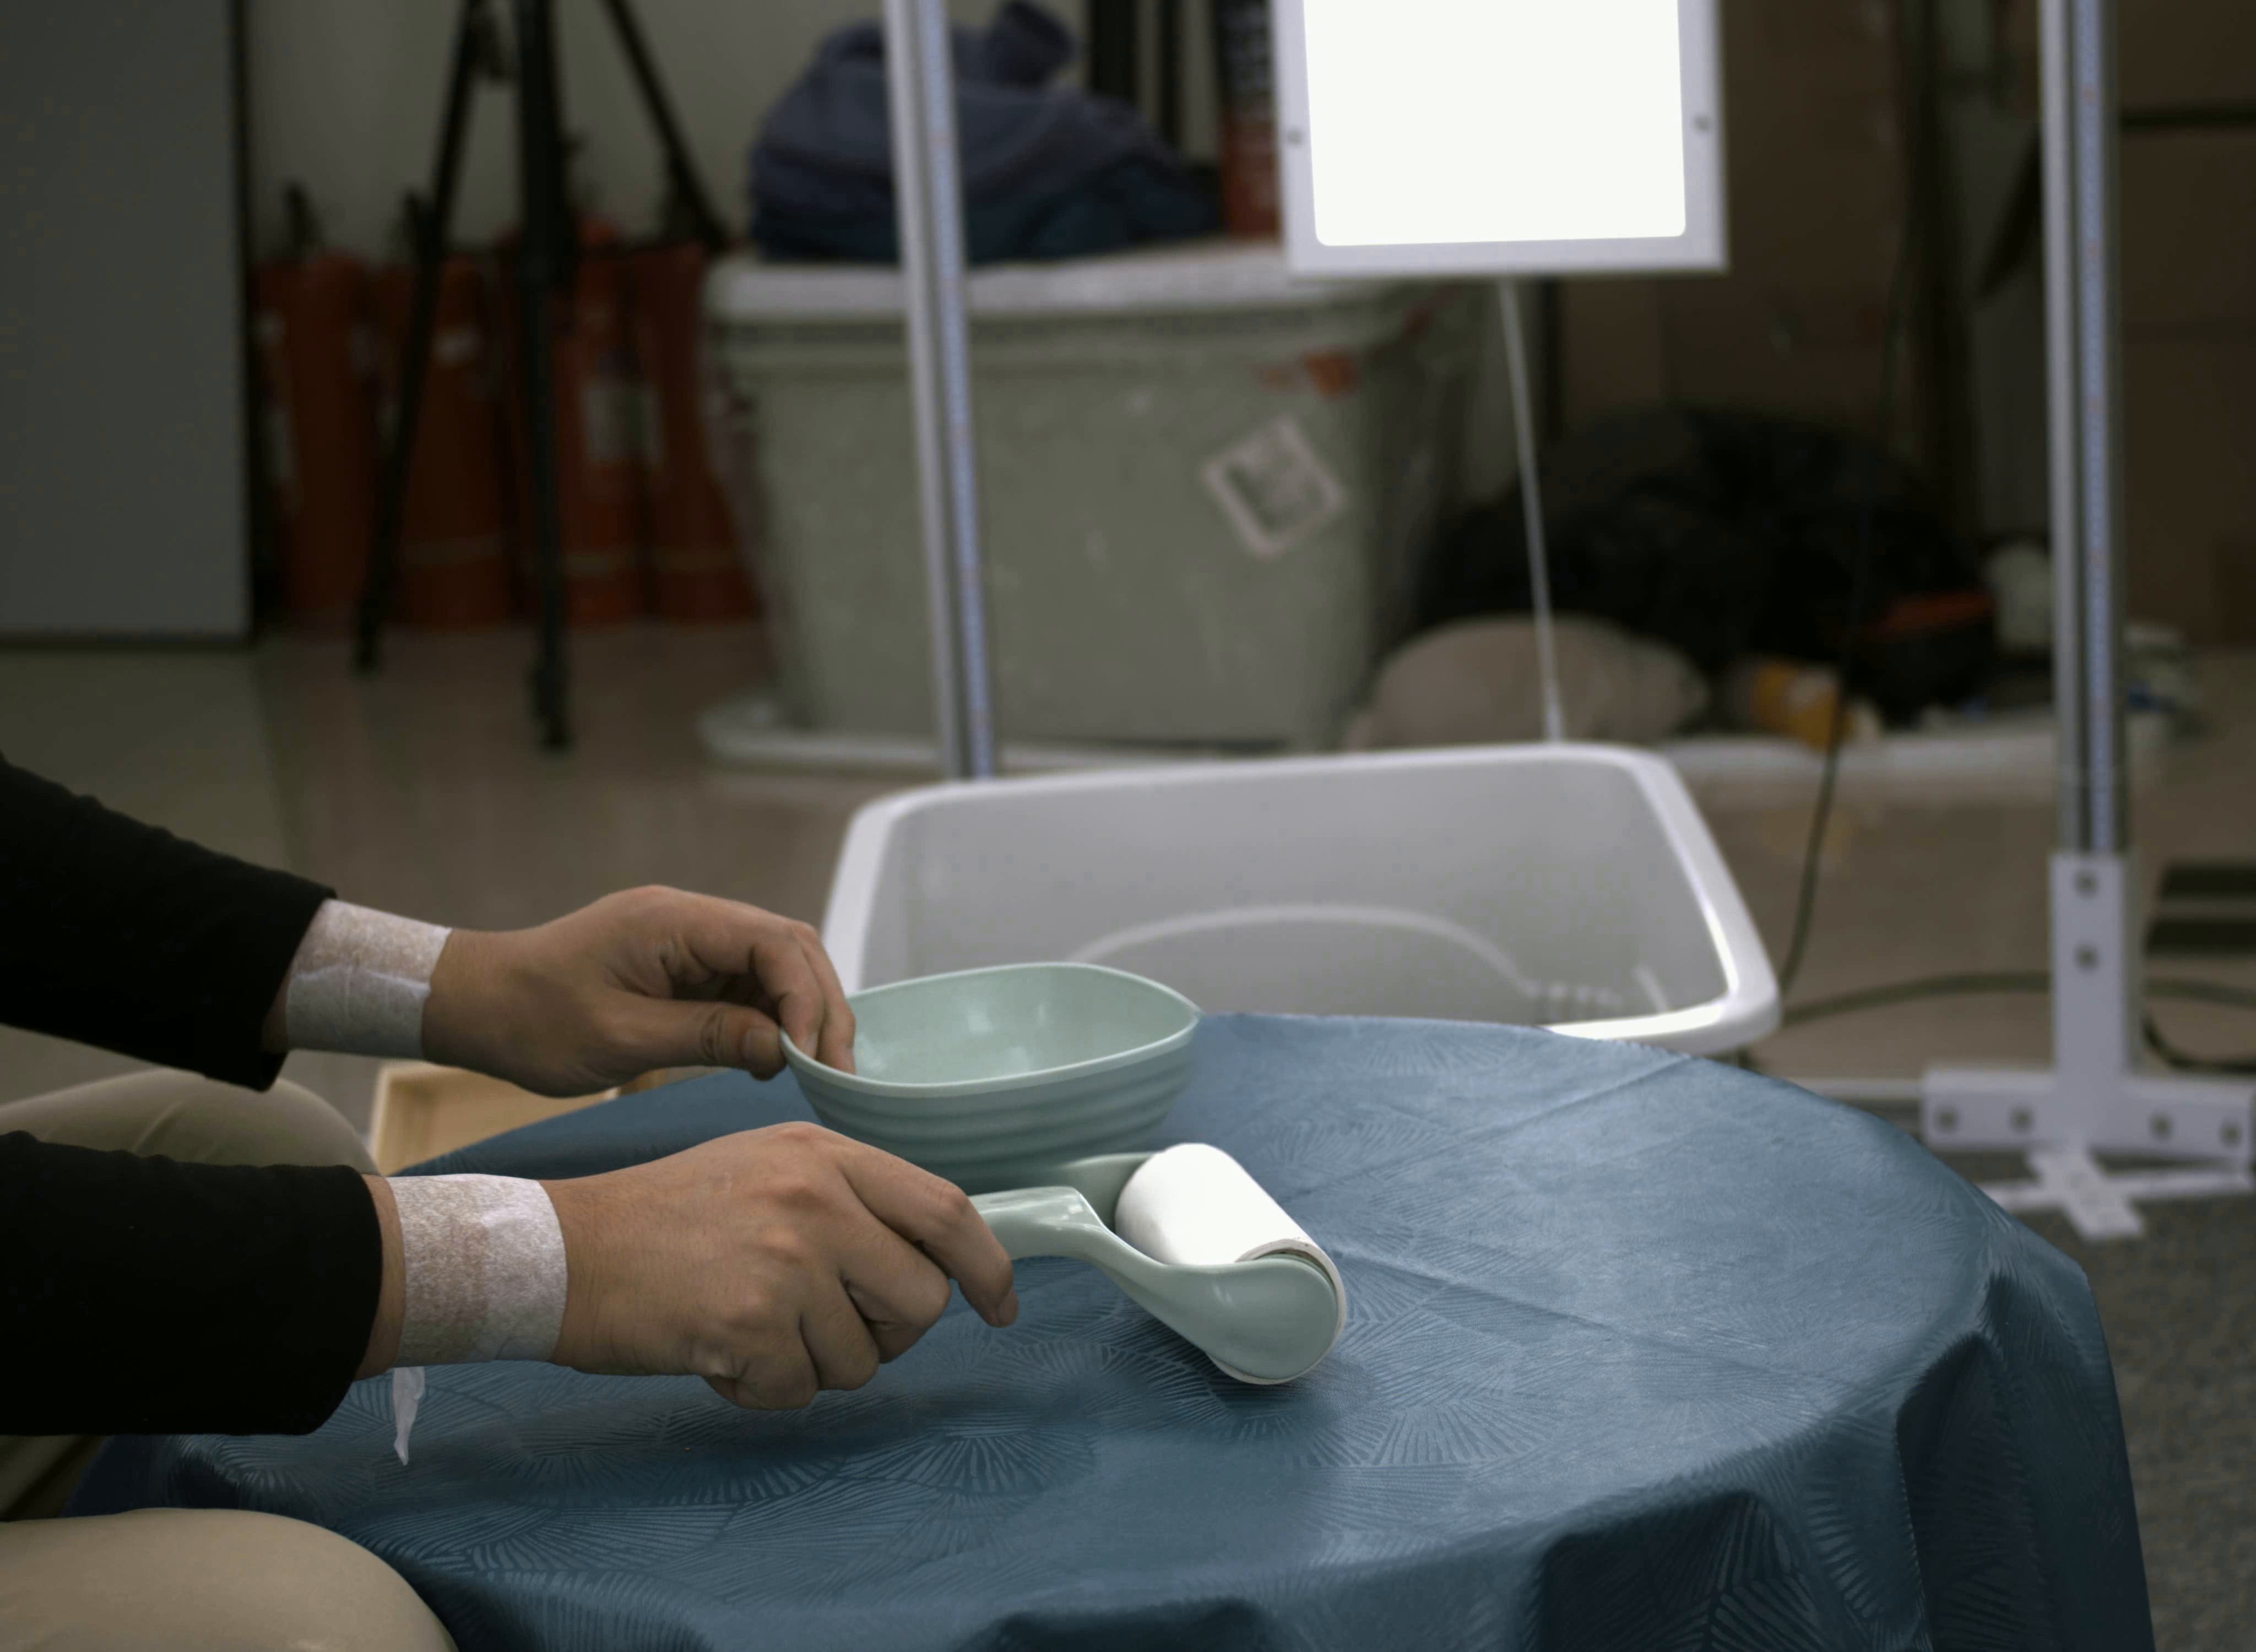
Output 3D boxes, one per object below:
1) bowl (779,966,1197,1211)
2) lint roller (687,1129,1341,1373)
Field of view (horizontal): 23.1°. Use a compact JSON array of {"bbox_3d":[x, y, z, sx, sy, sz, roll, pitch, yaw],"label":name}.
[{"bbox_3d":[-0.048,0.096,1.921,0.151,0.059,0.151,-3,14,-1],"label":"bowl"},{"bbox_3d":[-0.042,0.136,1.719,0.195,0.049,0.117,-2,17,-15],"label":"lint roller"}]
